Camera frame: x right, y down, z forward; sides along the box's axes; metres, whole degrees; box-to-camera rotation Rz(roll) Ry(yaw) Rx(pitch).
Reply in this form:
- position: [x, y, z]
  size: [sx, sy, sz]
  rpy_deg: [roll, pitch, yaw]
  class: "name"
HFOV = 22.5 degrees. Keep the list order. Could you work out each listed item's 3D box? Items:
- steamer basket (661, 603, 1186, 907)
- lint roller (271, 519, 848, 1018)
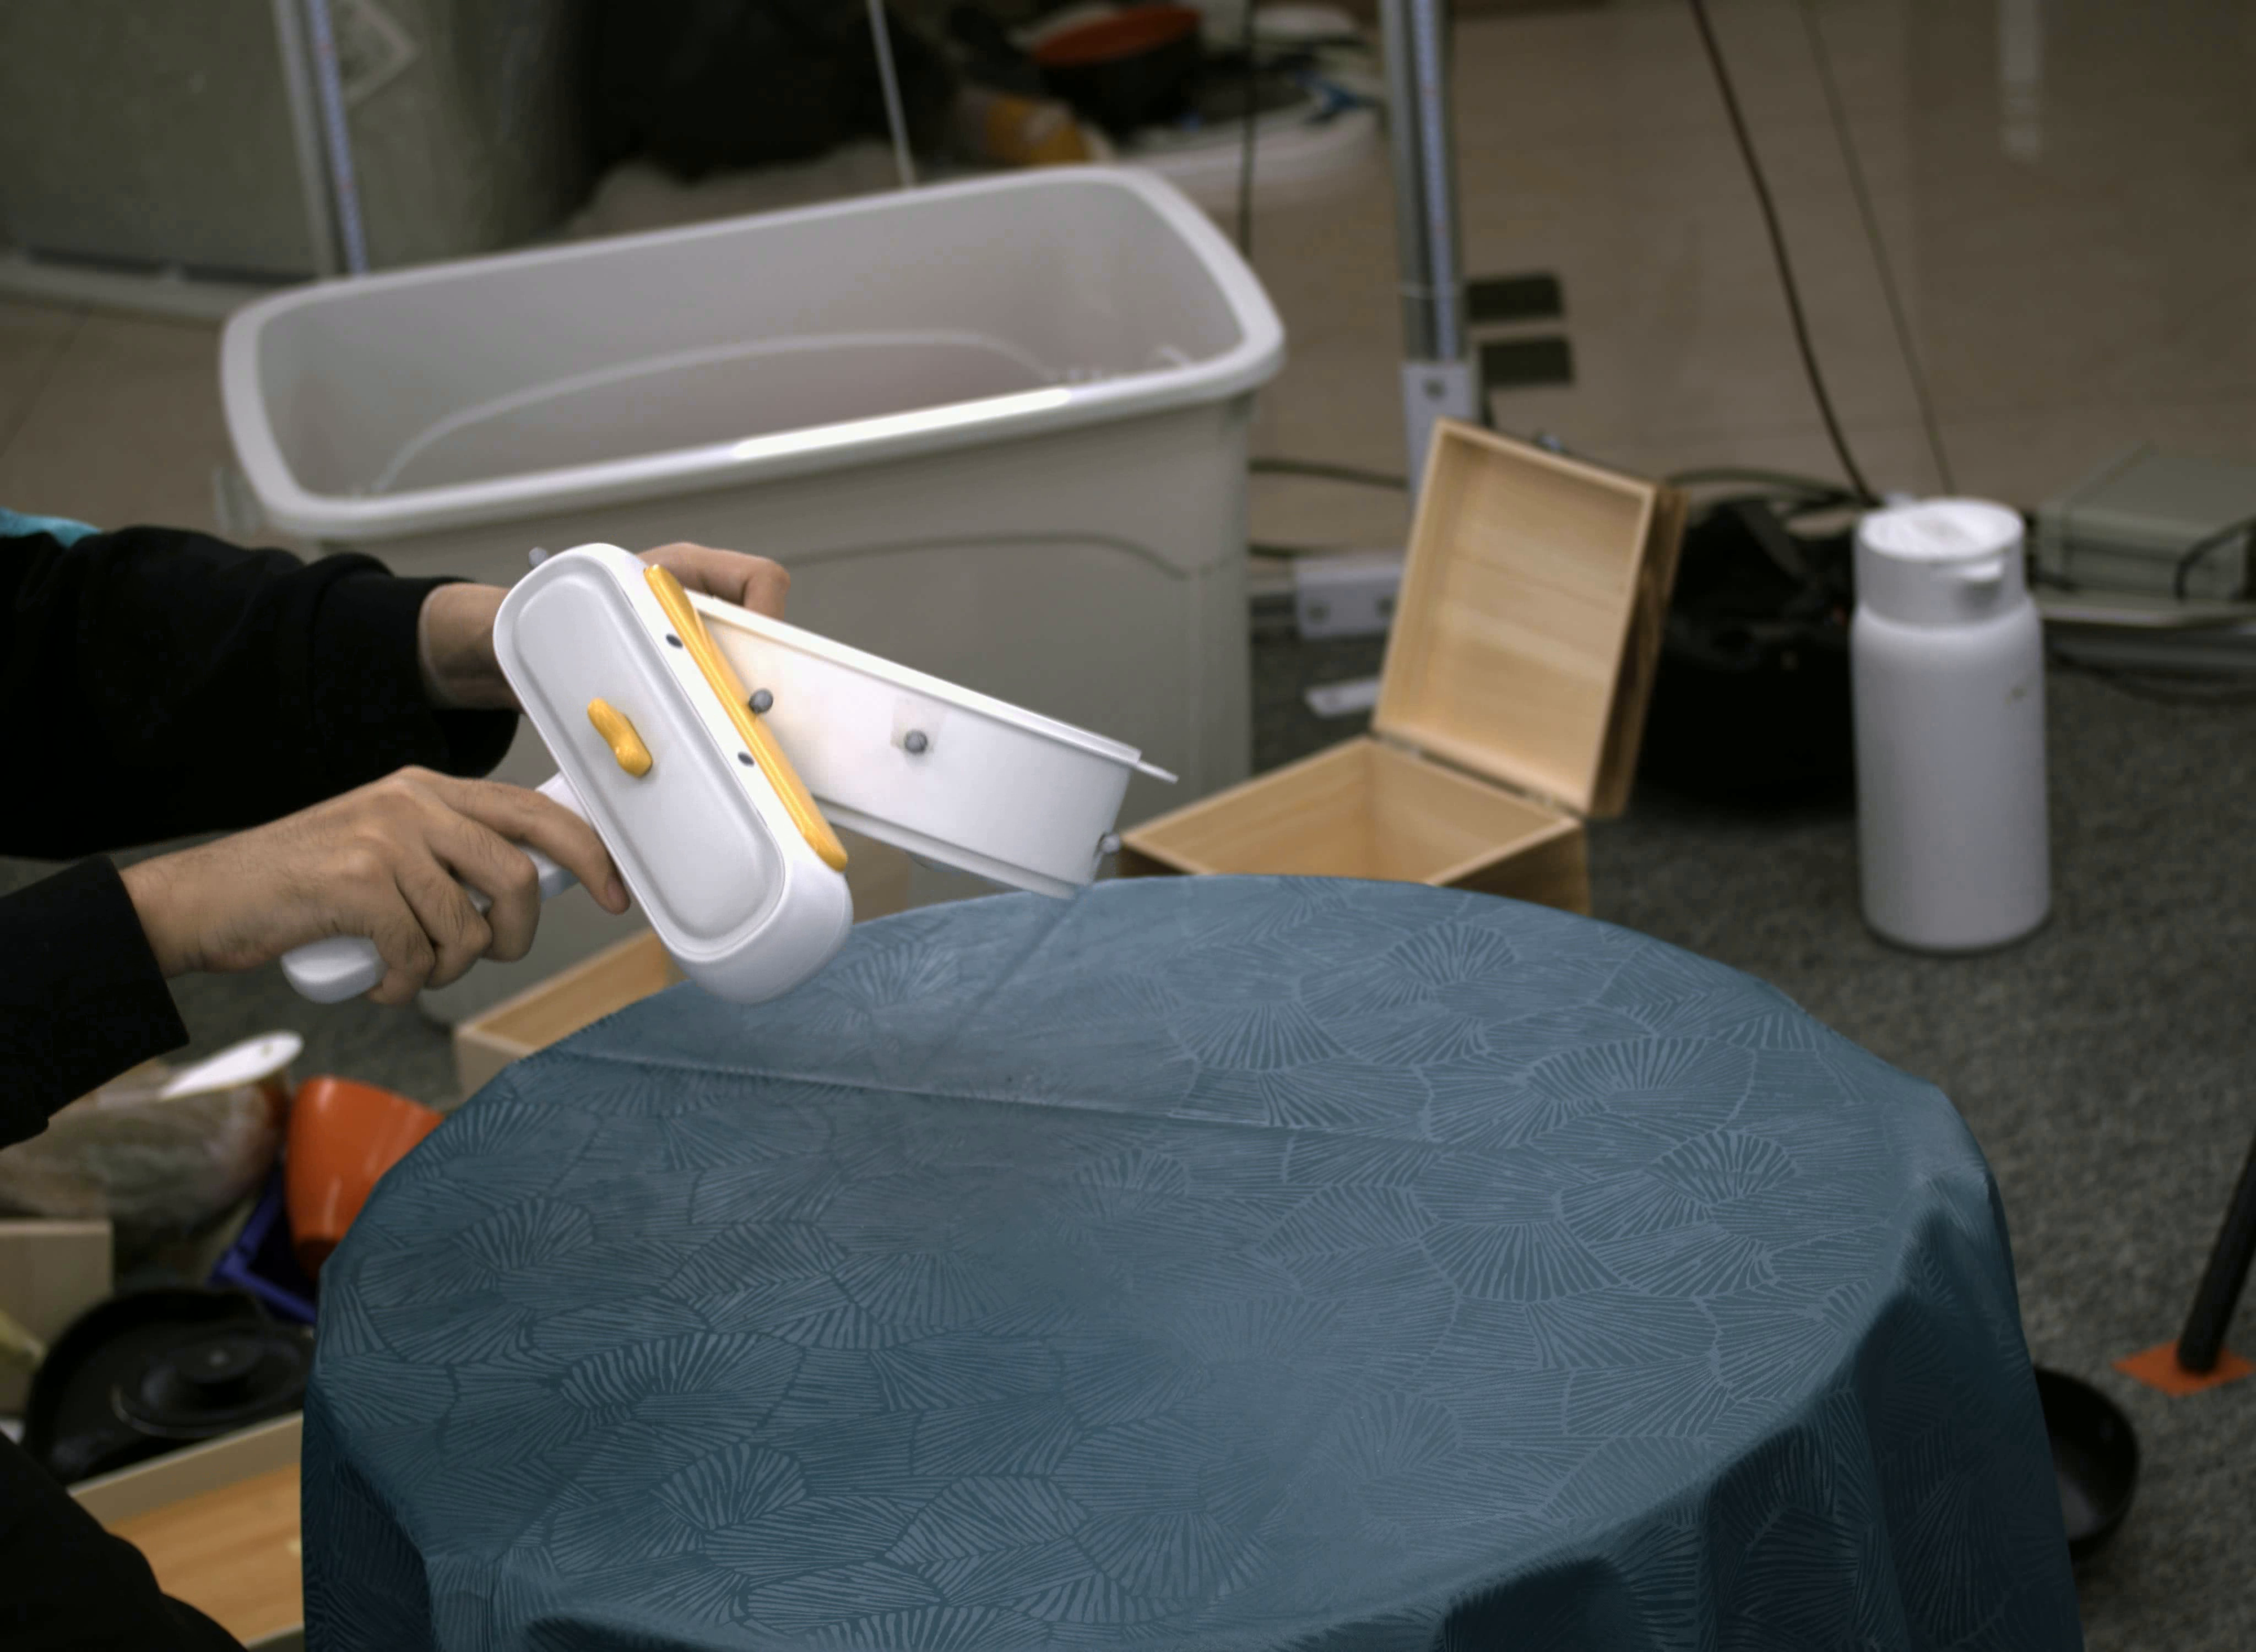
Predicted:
- position: [-0.096, -0.025, 2.137]
  size: [0.231, 0.069, 0.201]
  rpy_deg: [17, 0, -9]
  class: "steamer basket"
- position: [-0.217, 0.004, 2.024]
  size: [0.192, 0.075, 0.191]
  rpy_deg: [-37, 69, 1]
  class: "lint roller"
